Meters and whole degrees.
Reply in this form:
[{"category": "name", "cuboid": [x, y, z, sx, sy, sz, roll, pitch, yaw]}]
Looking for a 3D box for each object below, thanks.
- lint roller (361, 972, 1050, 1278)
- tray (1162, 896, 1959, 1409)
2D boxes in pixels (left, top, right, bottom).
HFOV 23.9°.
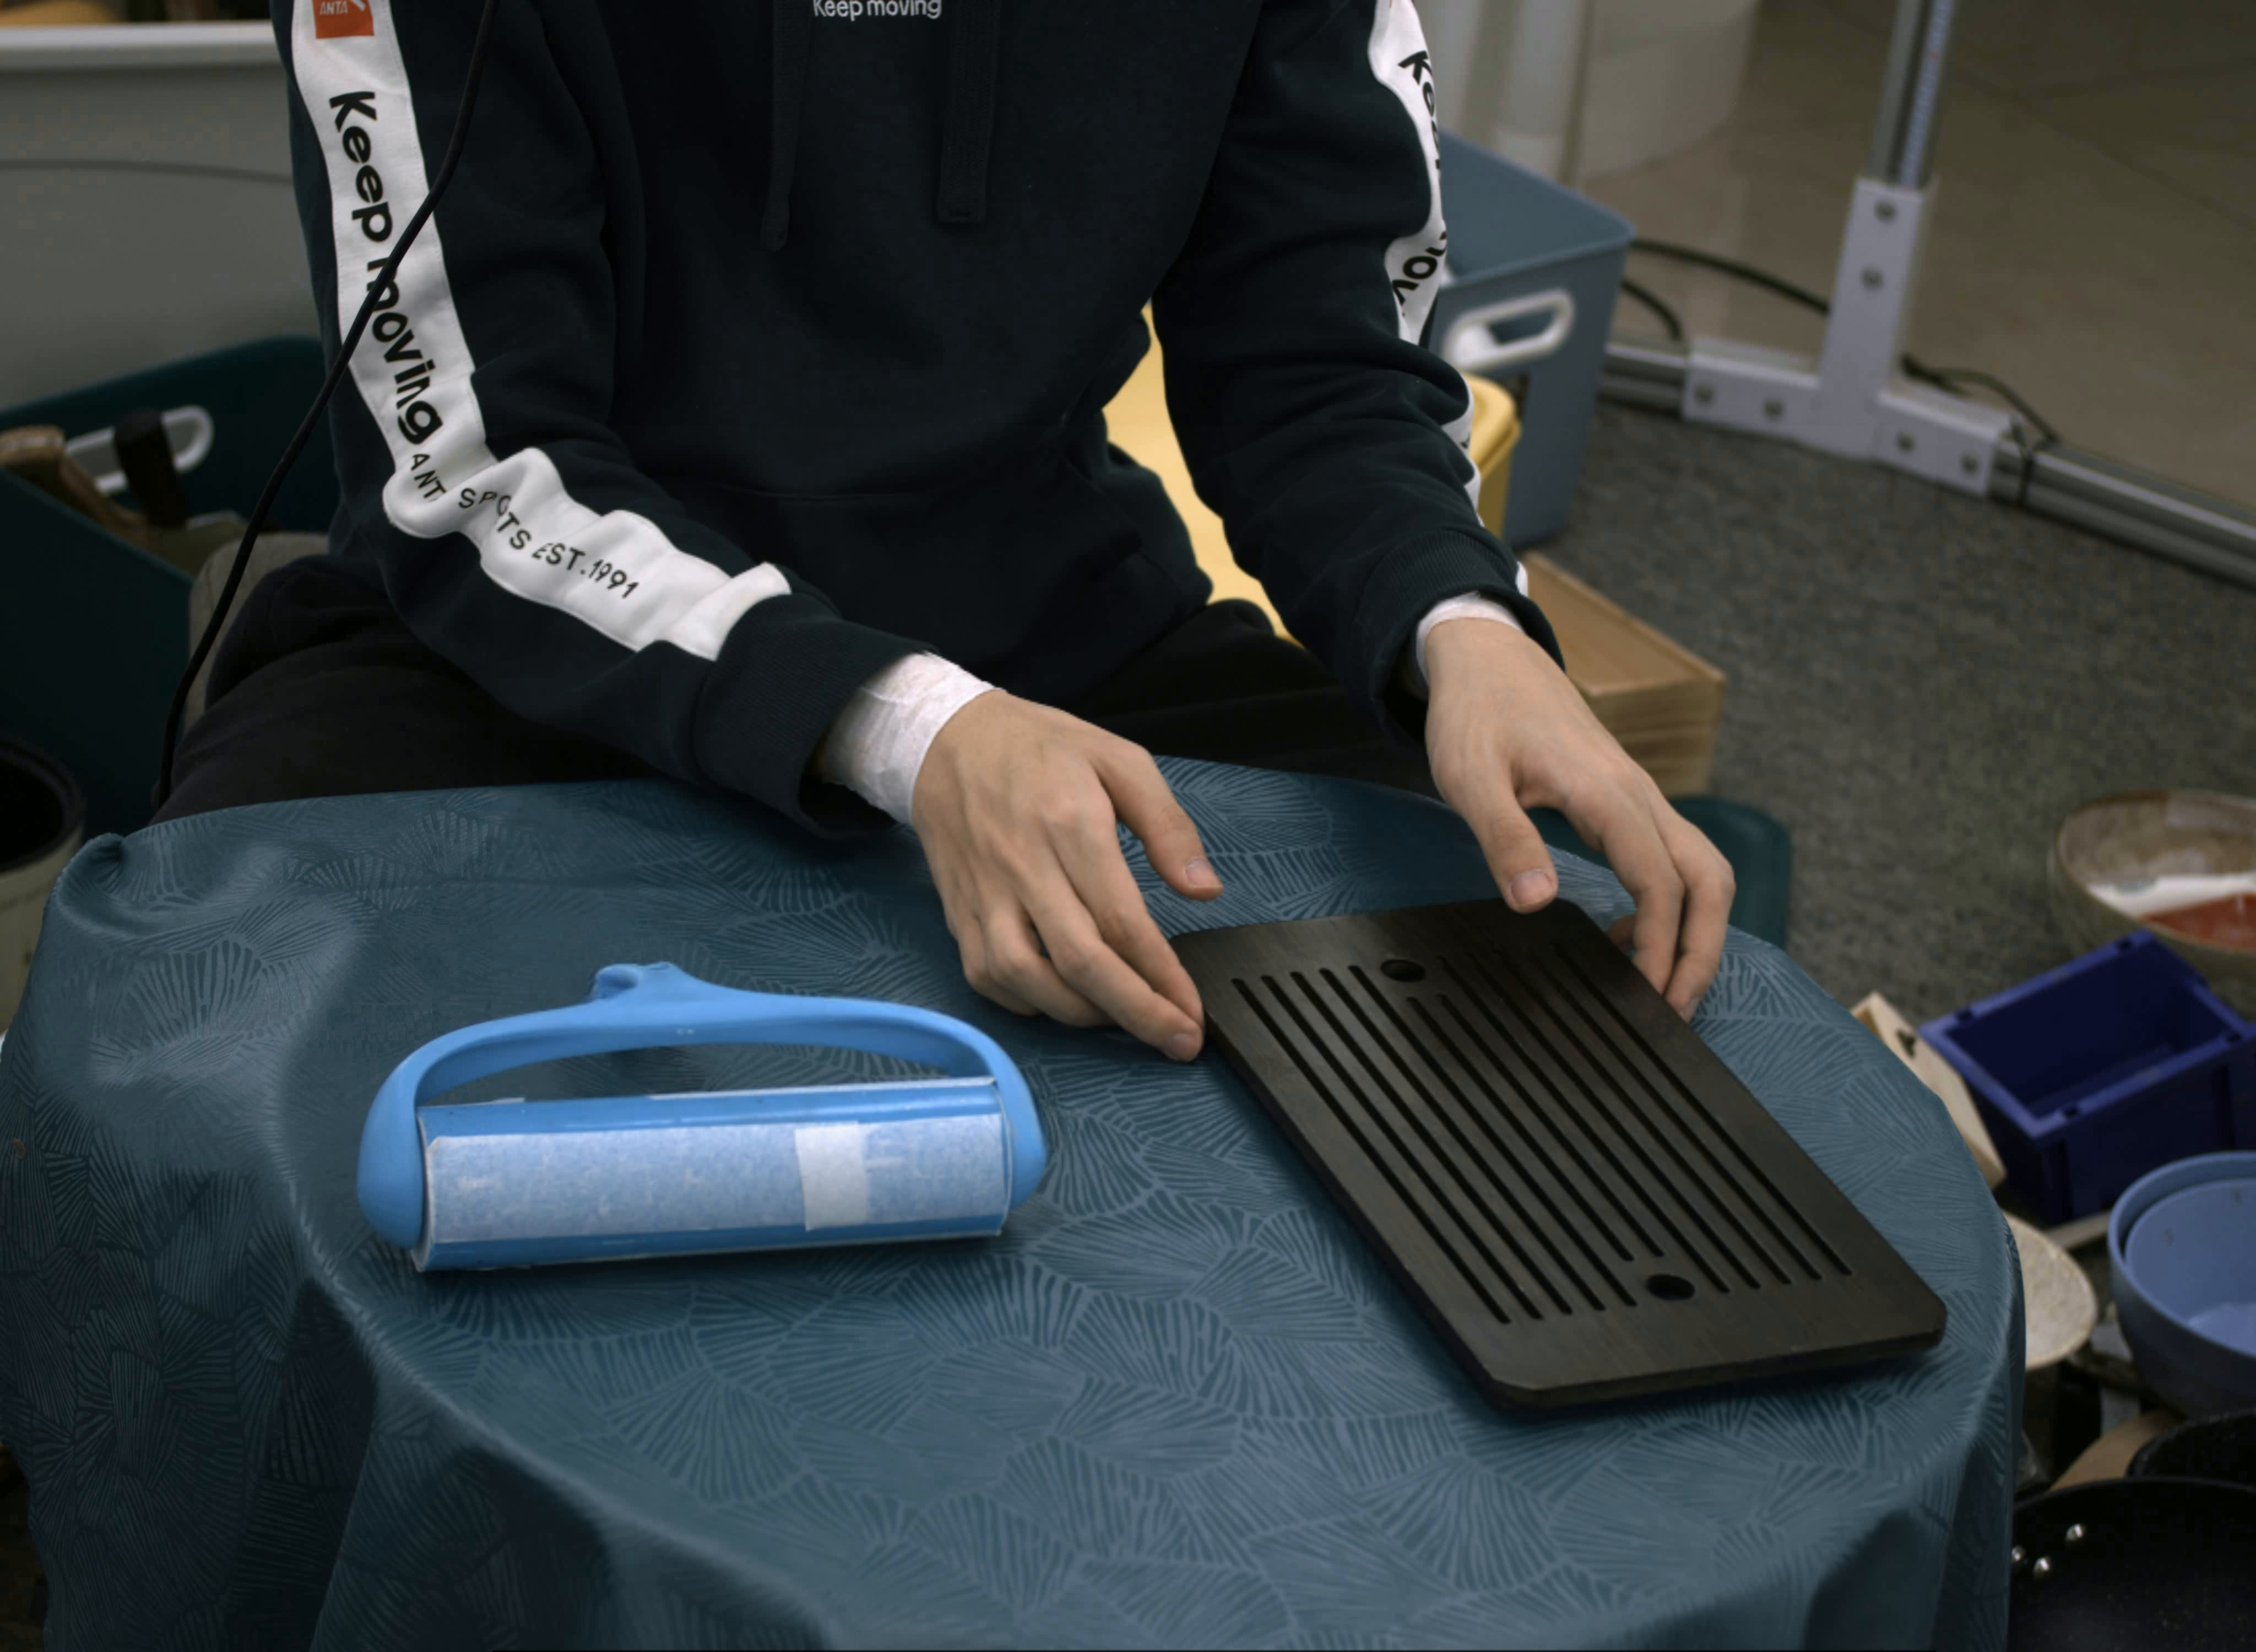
[{"category": "lint roller", "cuboid": [-0.155, 0.084, 1.778, 0.227, 0.067, 0.182, -5, 30, -18]}, {"category": "tray", "cuboid": [0.142, 0.109, 1.838, 0.169, 0.018, 0.309, -6, 29, -22]}]
